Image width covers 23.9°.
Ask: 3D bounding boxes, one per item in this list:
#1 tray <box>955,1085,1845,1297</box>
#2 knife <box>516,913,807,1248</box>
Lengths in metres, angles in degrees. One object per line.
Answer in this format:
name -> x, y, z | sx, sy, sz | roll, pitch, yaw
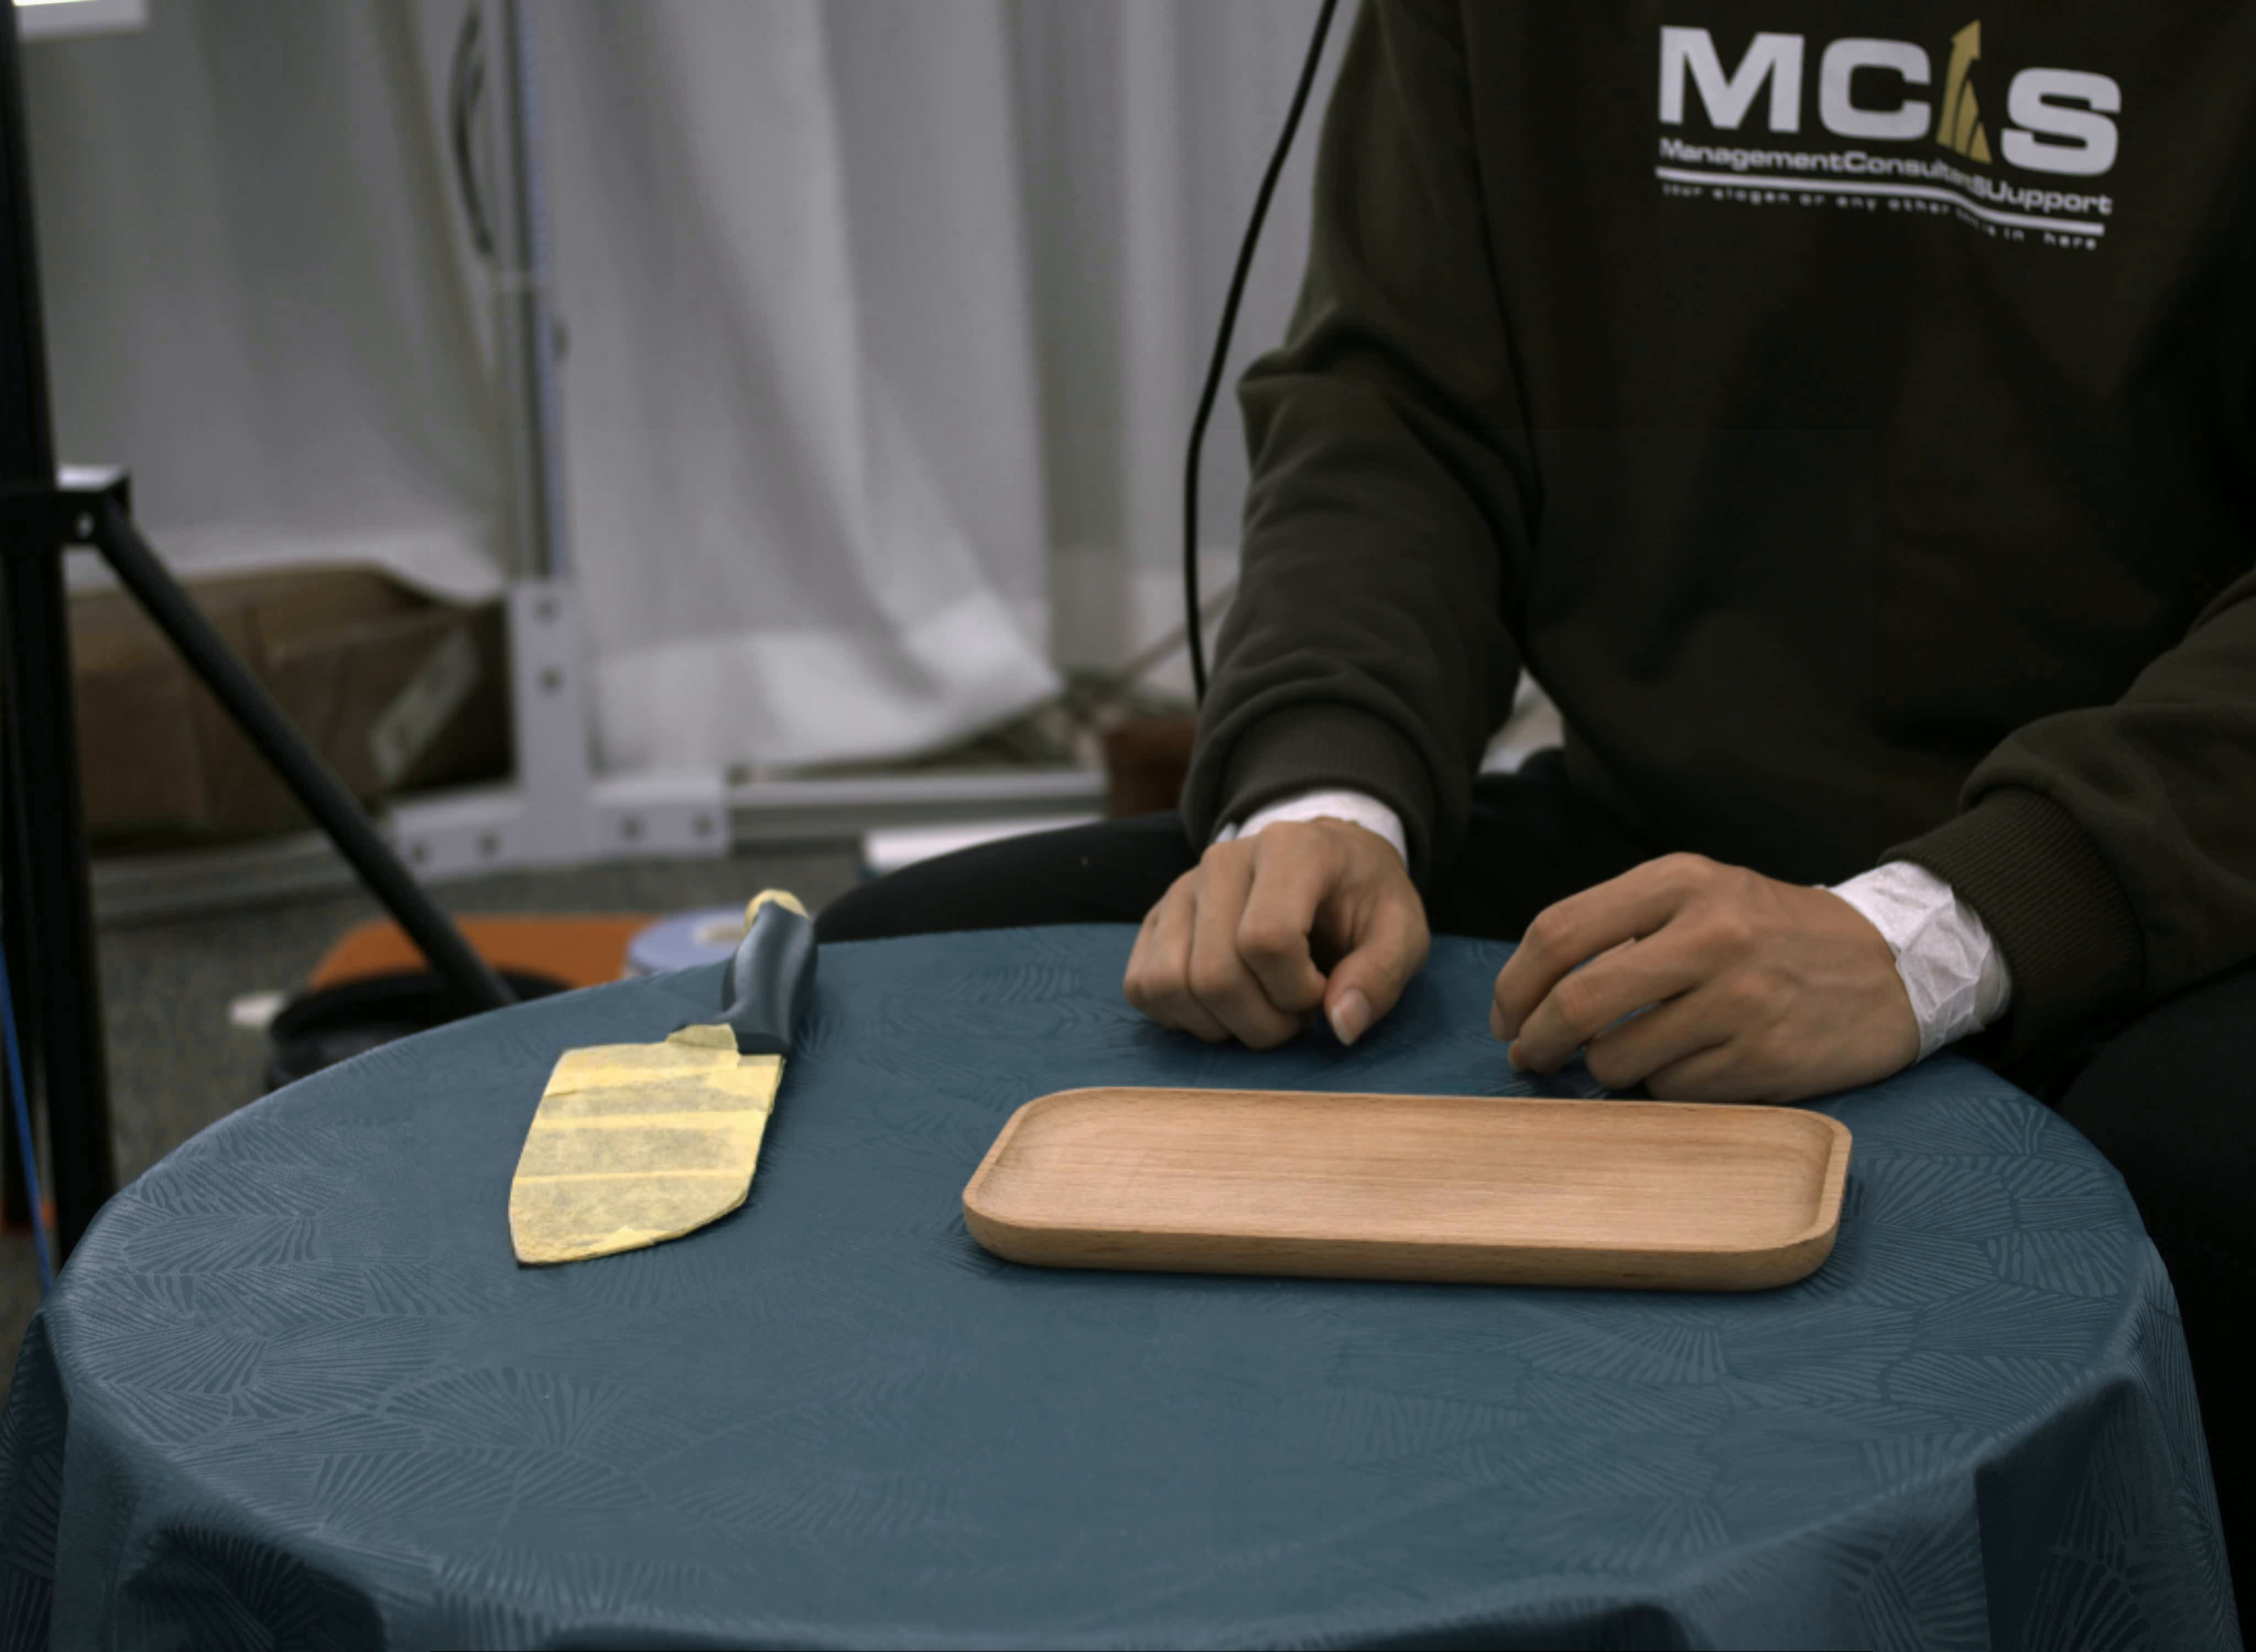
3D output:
tray -> 0.080, 0.105, 1.531 | 0.252, 0.023, 0.129 | 1, 13, 13
knife -> -0.142, 0.079, 1.660 | 0.081, 0.027, 0.289 | 1, 17, 5
